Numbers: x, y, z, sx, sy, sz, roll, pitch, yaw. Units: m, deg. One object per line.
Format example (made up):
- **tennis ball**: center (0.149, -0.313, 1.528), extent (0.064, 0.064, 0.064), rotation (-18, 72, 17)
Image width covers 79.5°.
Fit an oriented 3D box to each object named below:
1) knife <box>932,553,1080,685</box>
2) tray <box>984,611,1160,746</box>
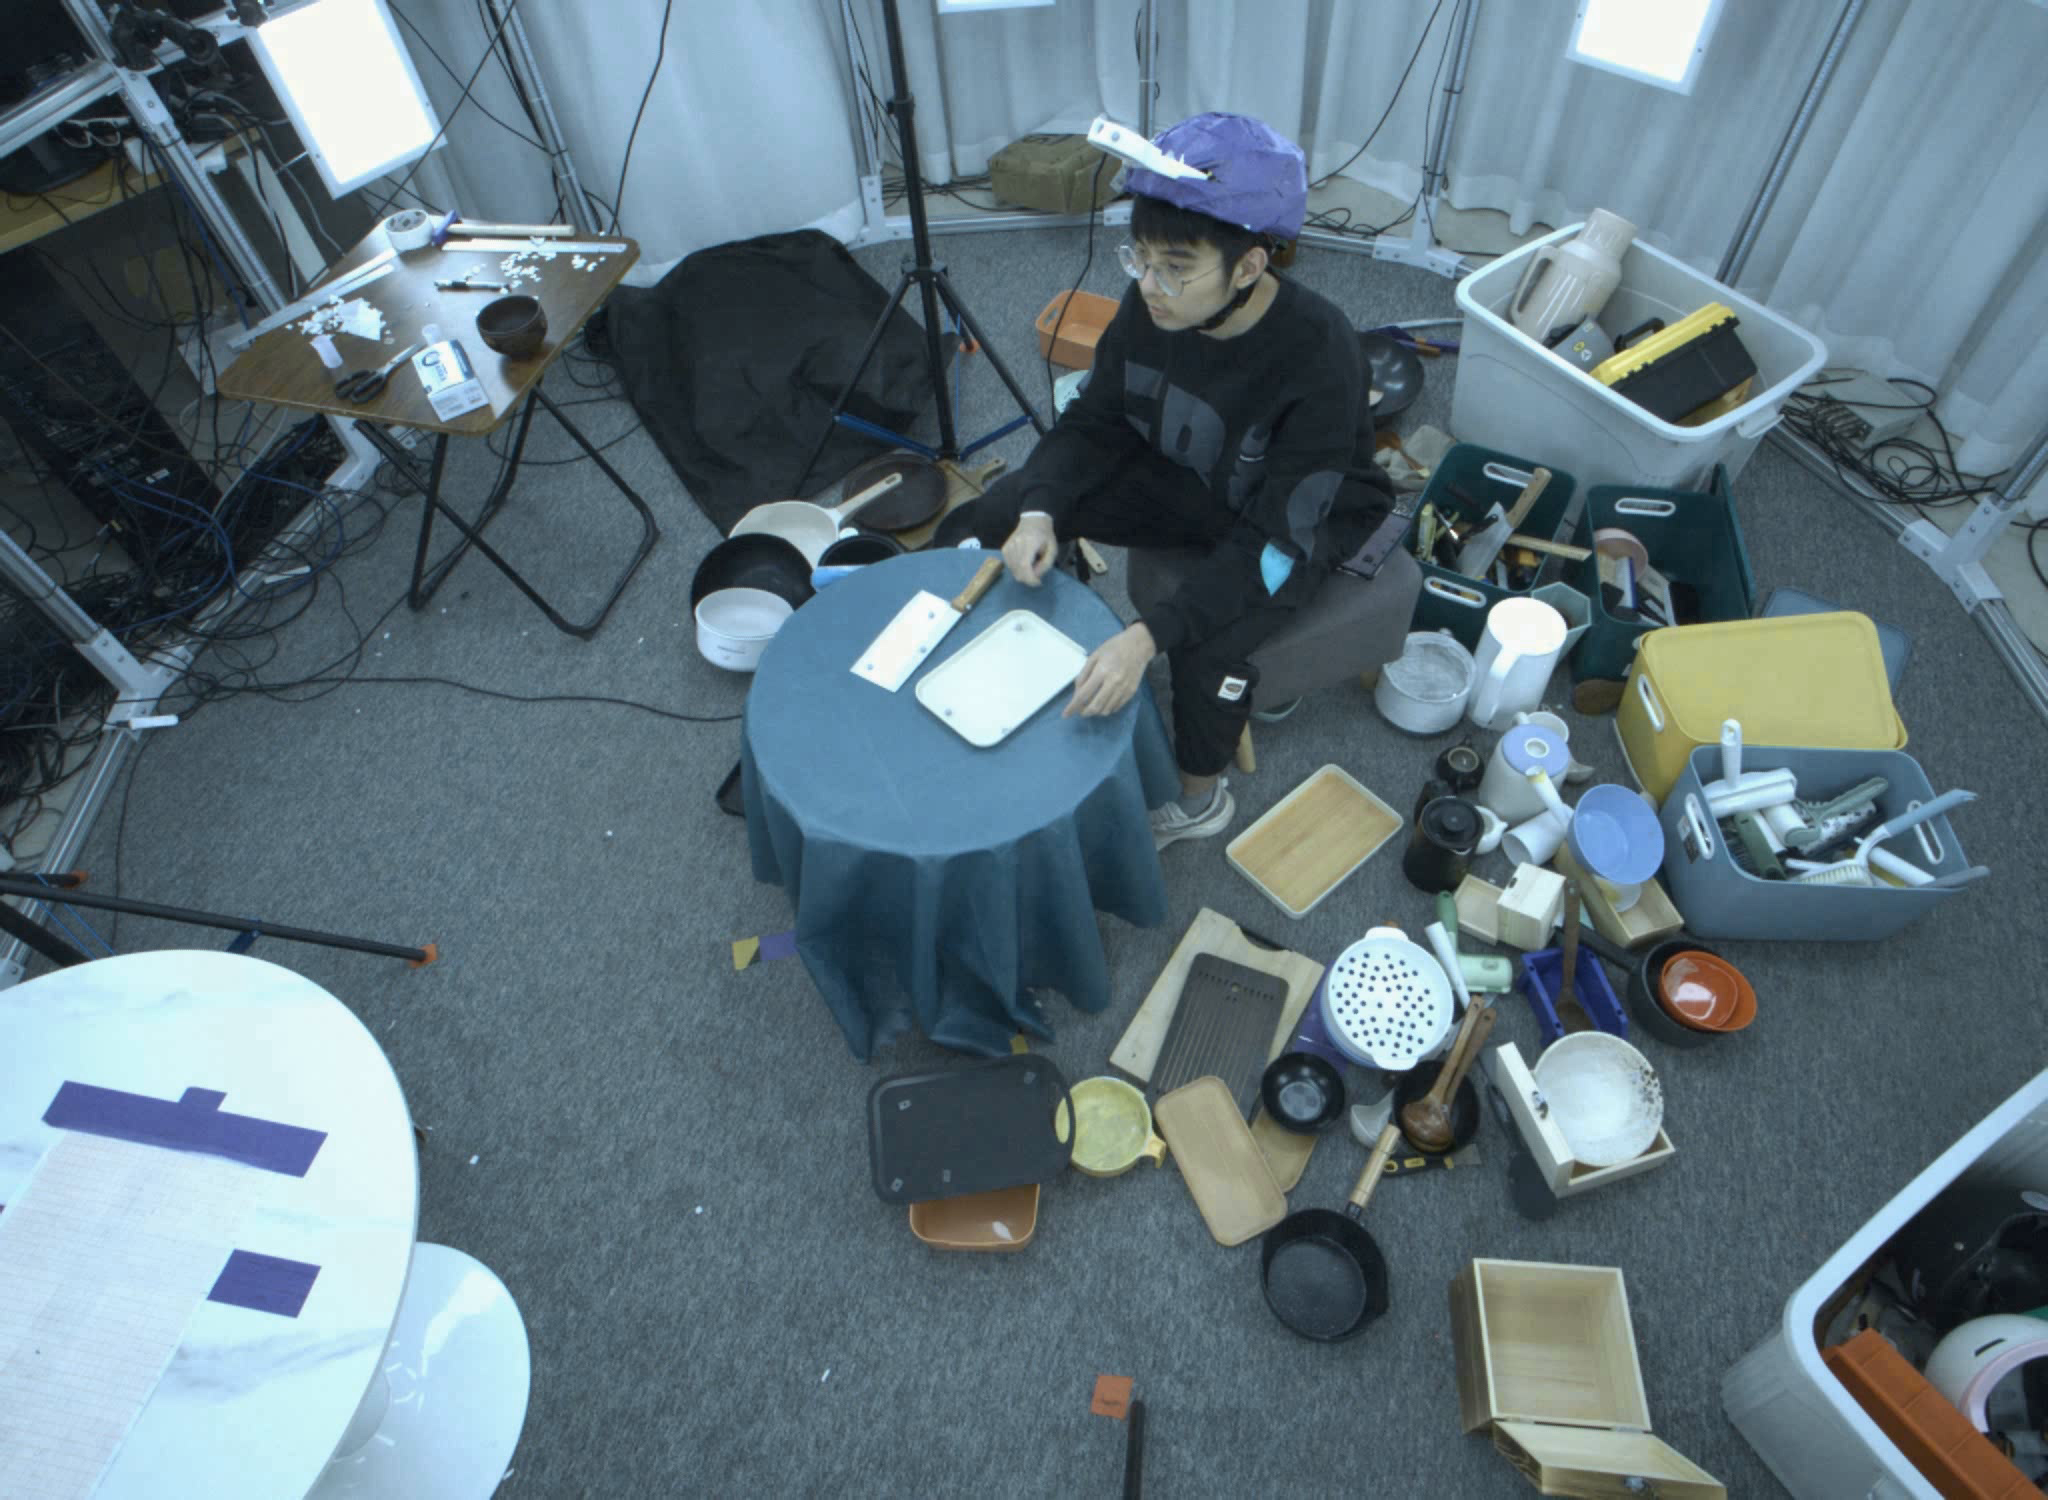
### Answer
- **knife**: center (-0.031, -0.219, 1.933), extent (0.091, 0.021, 0.307), rotation (30, 64, 23)
- **tray**: center (0.073, -0.109, 1.849), extent (0.241, 0.017, 0.168), rotation (-36, 60, -21)
